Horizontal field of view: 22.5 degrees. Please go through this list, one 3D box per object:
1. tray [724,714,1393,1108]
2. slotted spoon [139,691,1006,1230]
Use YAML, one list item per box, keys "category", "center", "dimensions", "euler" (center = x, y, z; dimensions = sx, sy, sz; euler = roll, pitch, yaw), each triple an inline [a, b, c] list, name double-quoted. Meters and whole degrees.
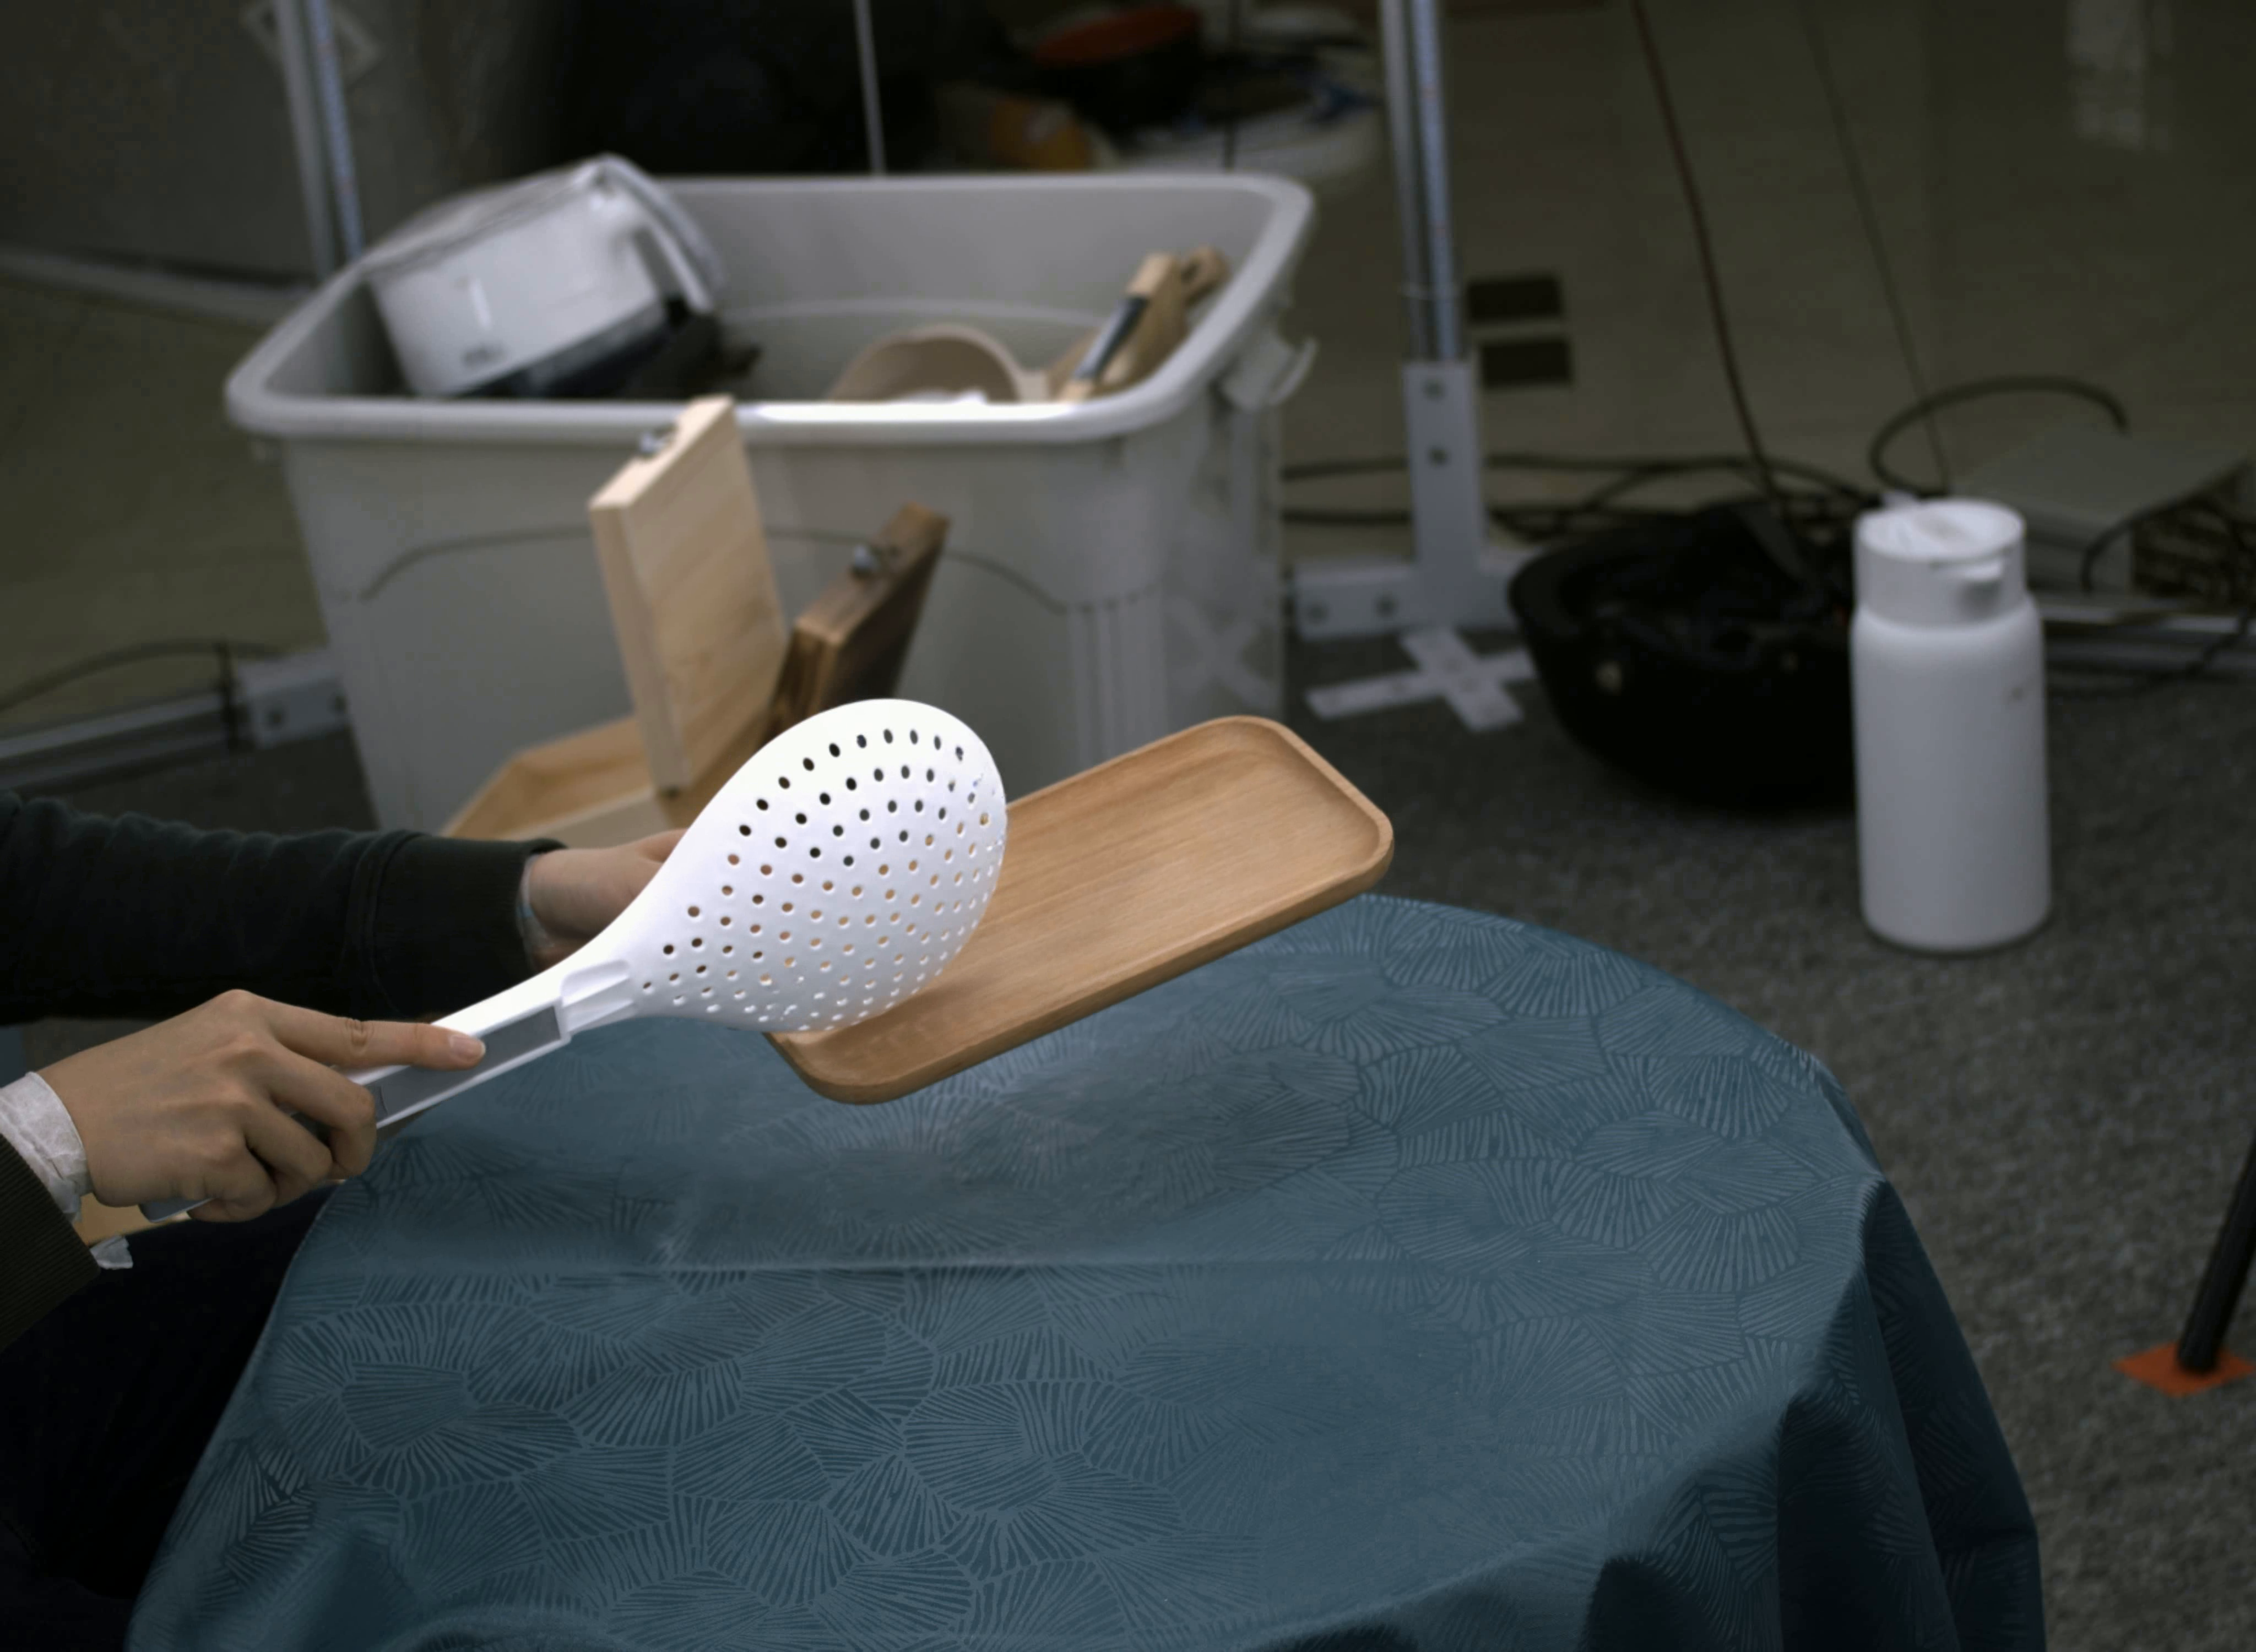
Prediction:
- category: "tray"
  center: [-0.028, 0.031, 2.138]
  dimensions: [0.249, 0.023, 0.129]
  euler: [-24, 37, -18]
- category: "slotted spoon"
  center: [-0.191, 0.059, 2.015]
  dimensions: [0.348, 0.138, 0.045]
  euler: [-22, 37, -17]
